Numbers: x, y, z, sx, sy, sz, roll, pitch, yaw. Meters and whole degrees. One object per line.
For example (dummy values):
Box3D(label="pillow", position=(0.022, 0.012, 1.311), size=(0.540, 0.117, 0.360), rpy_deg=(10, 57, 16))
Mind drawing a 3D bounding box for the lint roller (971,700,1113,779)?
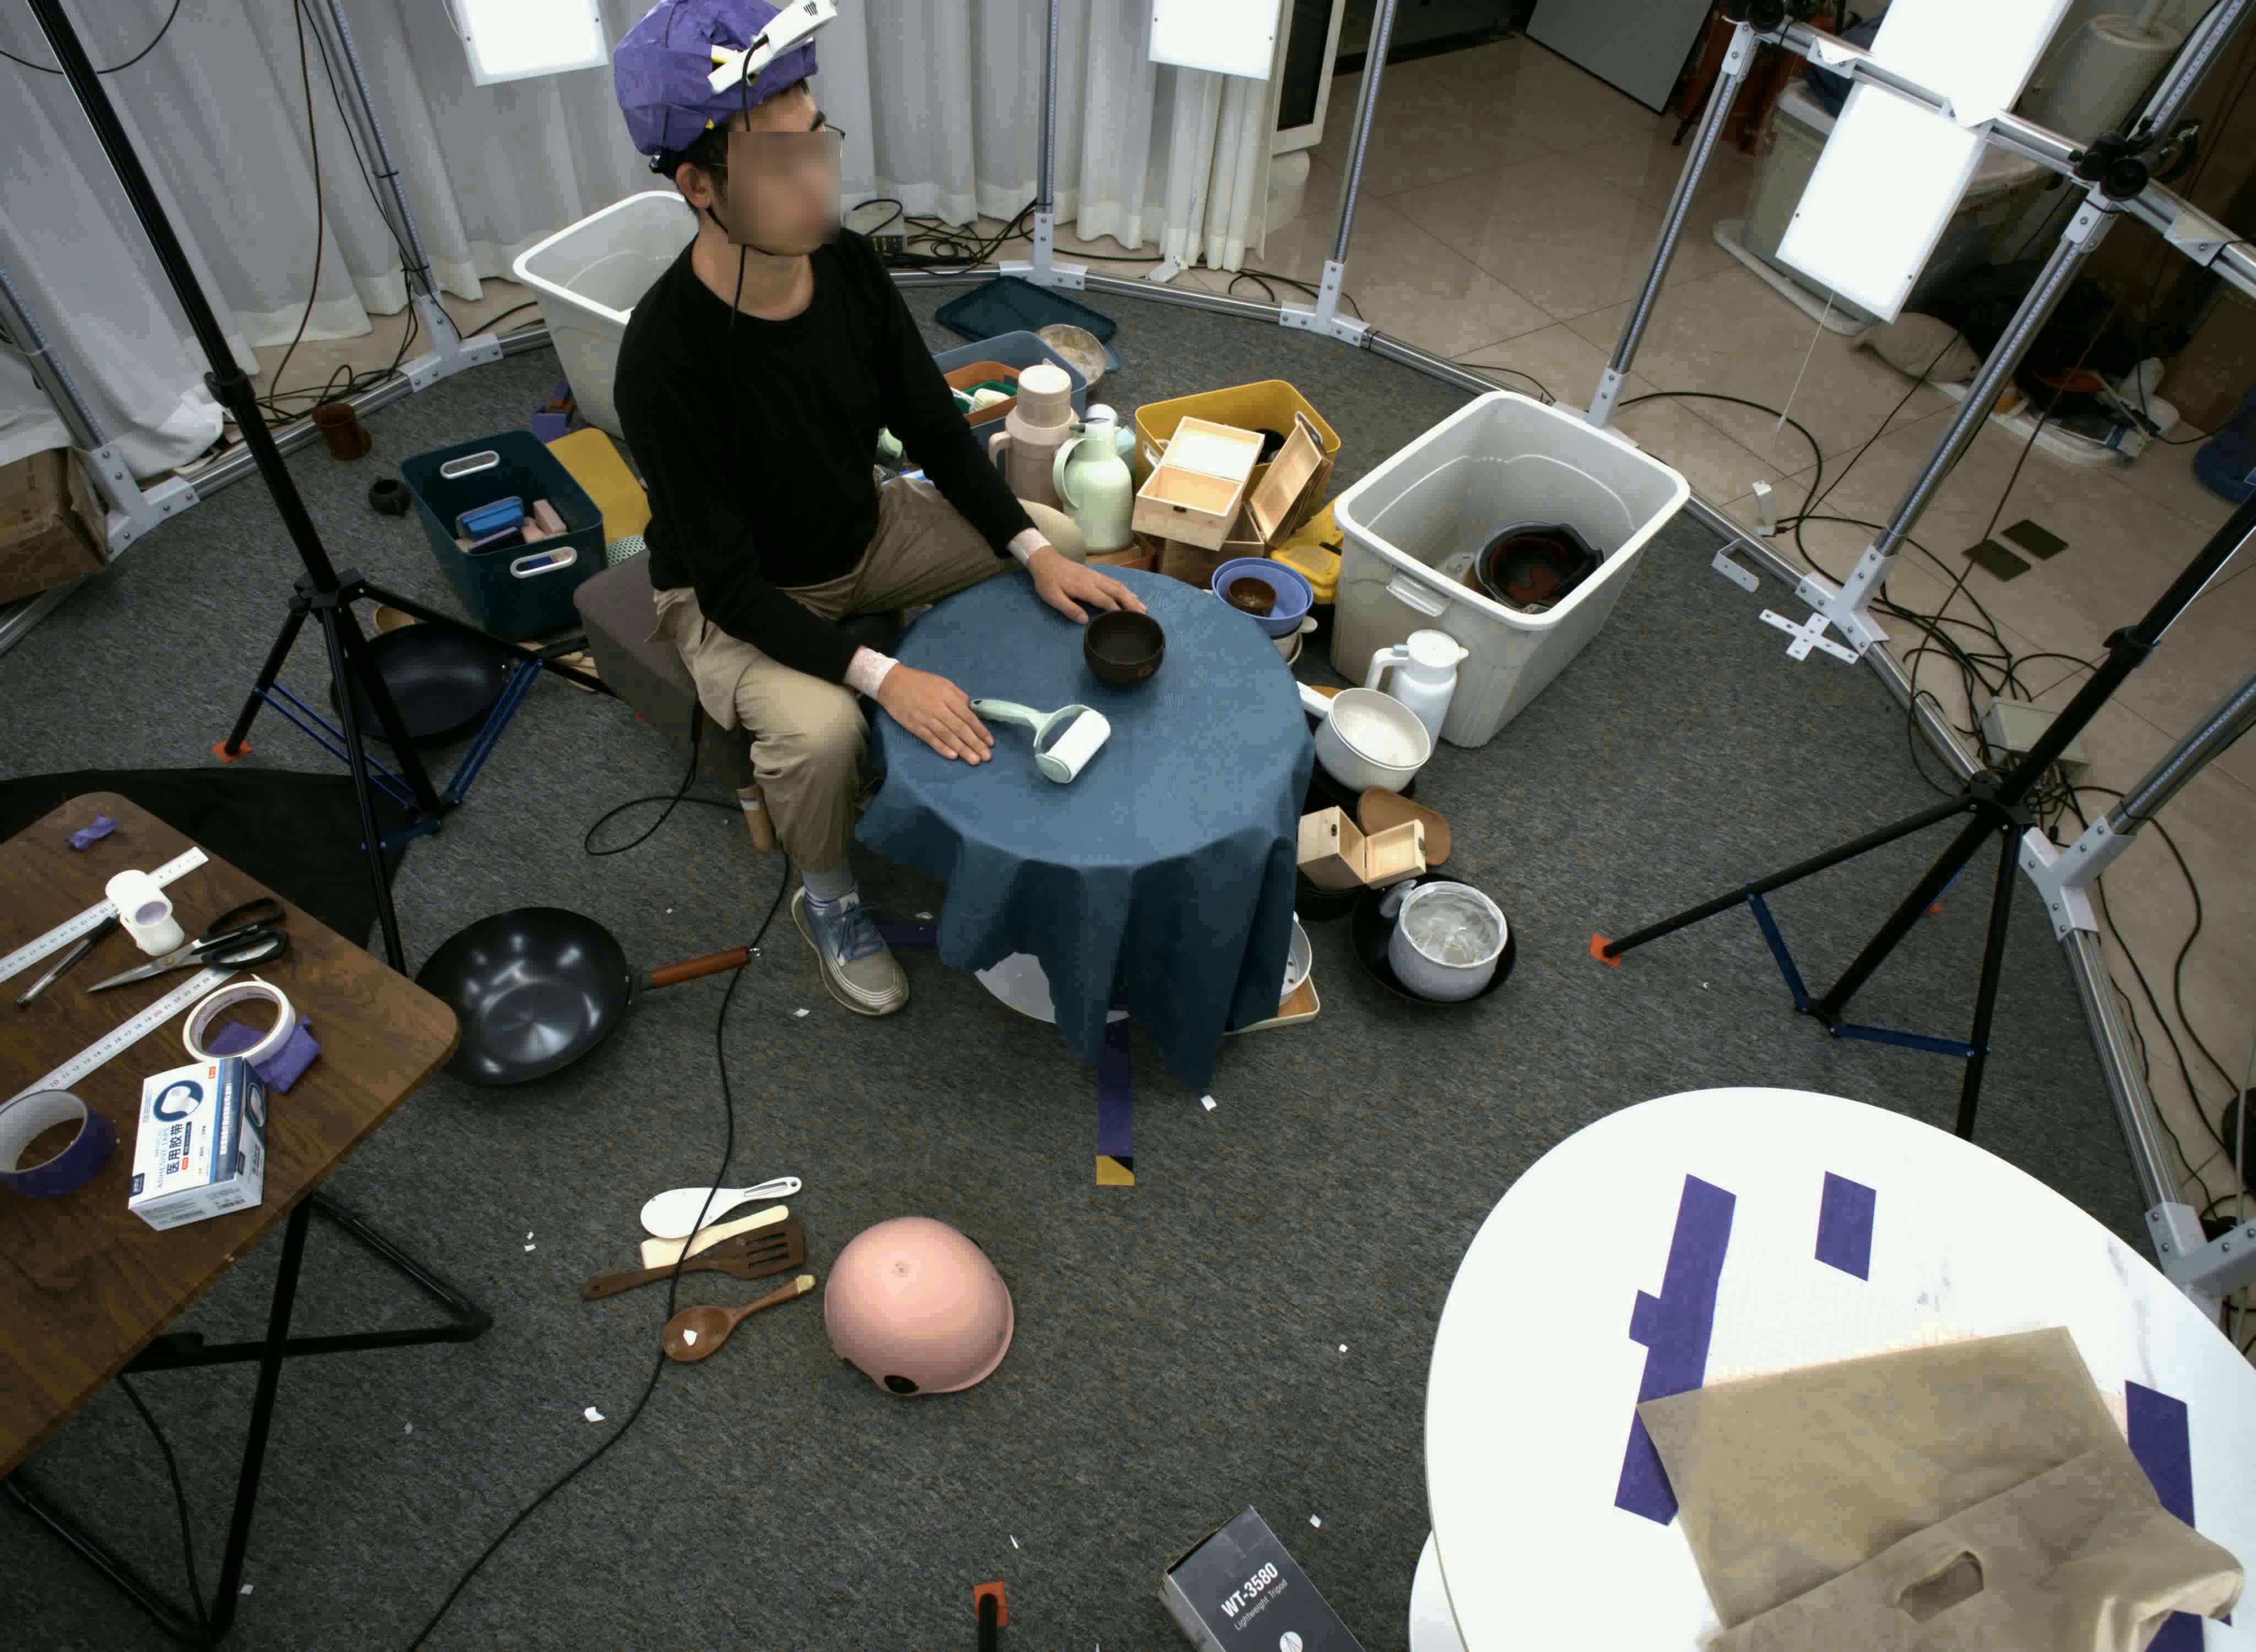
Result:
Box3D(label="lint roller", position=(-0.128, -0.142, 1.756), size=(0.199, 0.047, 0.118), rpy_deg=(25, 53, 18))

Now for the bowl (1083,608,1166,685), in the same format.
Box3D(label="bowl", position=(-0.006, -0.248, 1.838), size=(0.118, 0.068, 0.121), rpy_deg=(1, 49, -2))
